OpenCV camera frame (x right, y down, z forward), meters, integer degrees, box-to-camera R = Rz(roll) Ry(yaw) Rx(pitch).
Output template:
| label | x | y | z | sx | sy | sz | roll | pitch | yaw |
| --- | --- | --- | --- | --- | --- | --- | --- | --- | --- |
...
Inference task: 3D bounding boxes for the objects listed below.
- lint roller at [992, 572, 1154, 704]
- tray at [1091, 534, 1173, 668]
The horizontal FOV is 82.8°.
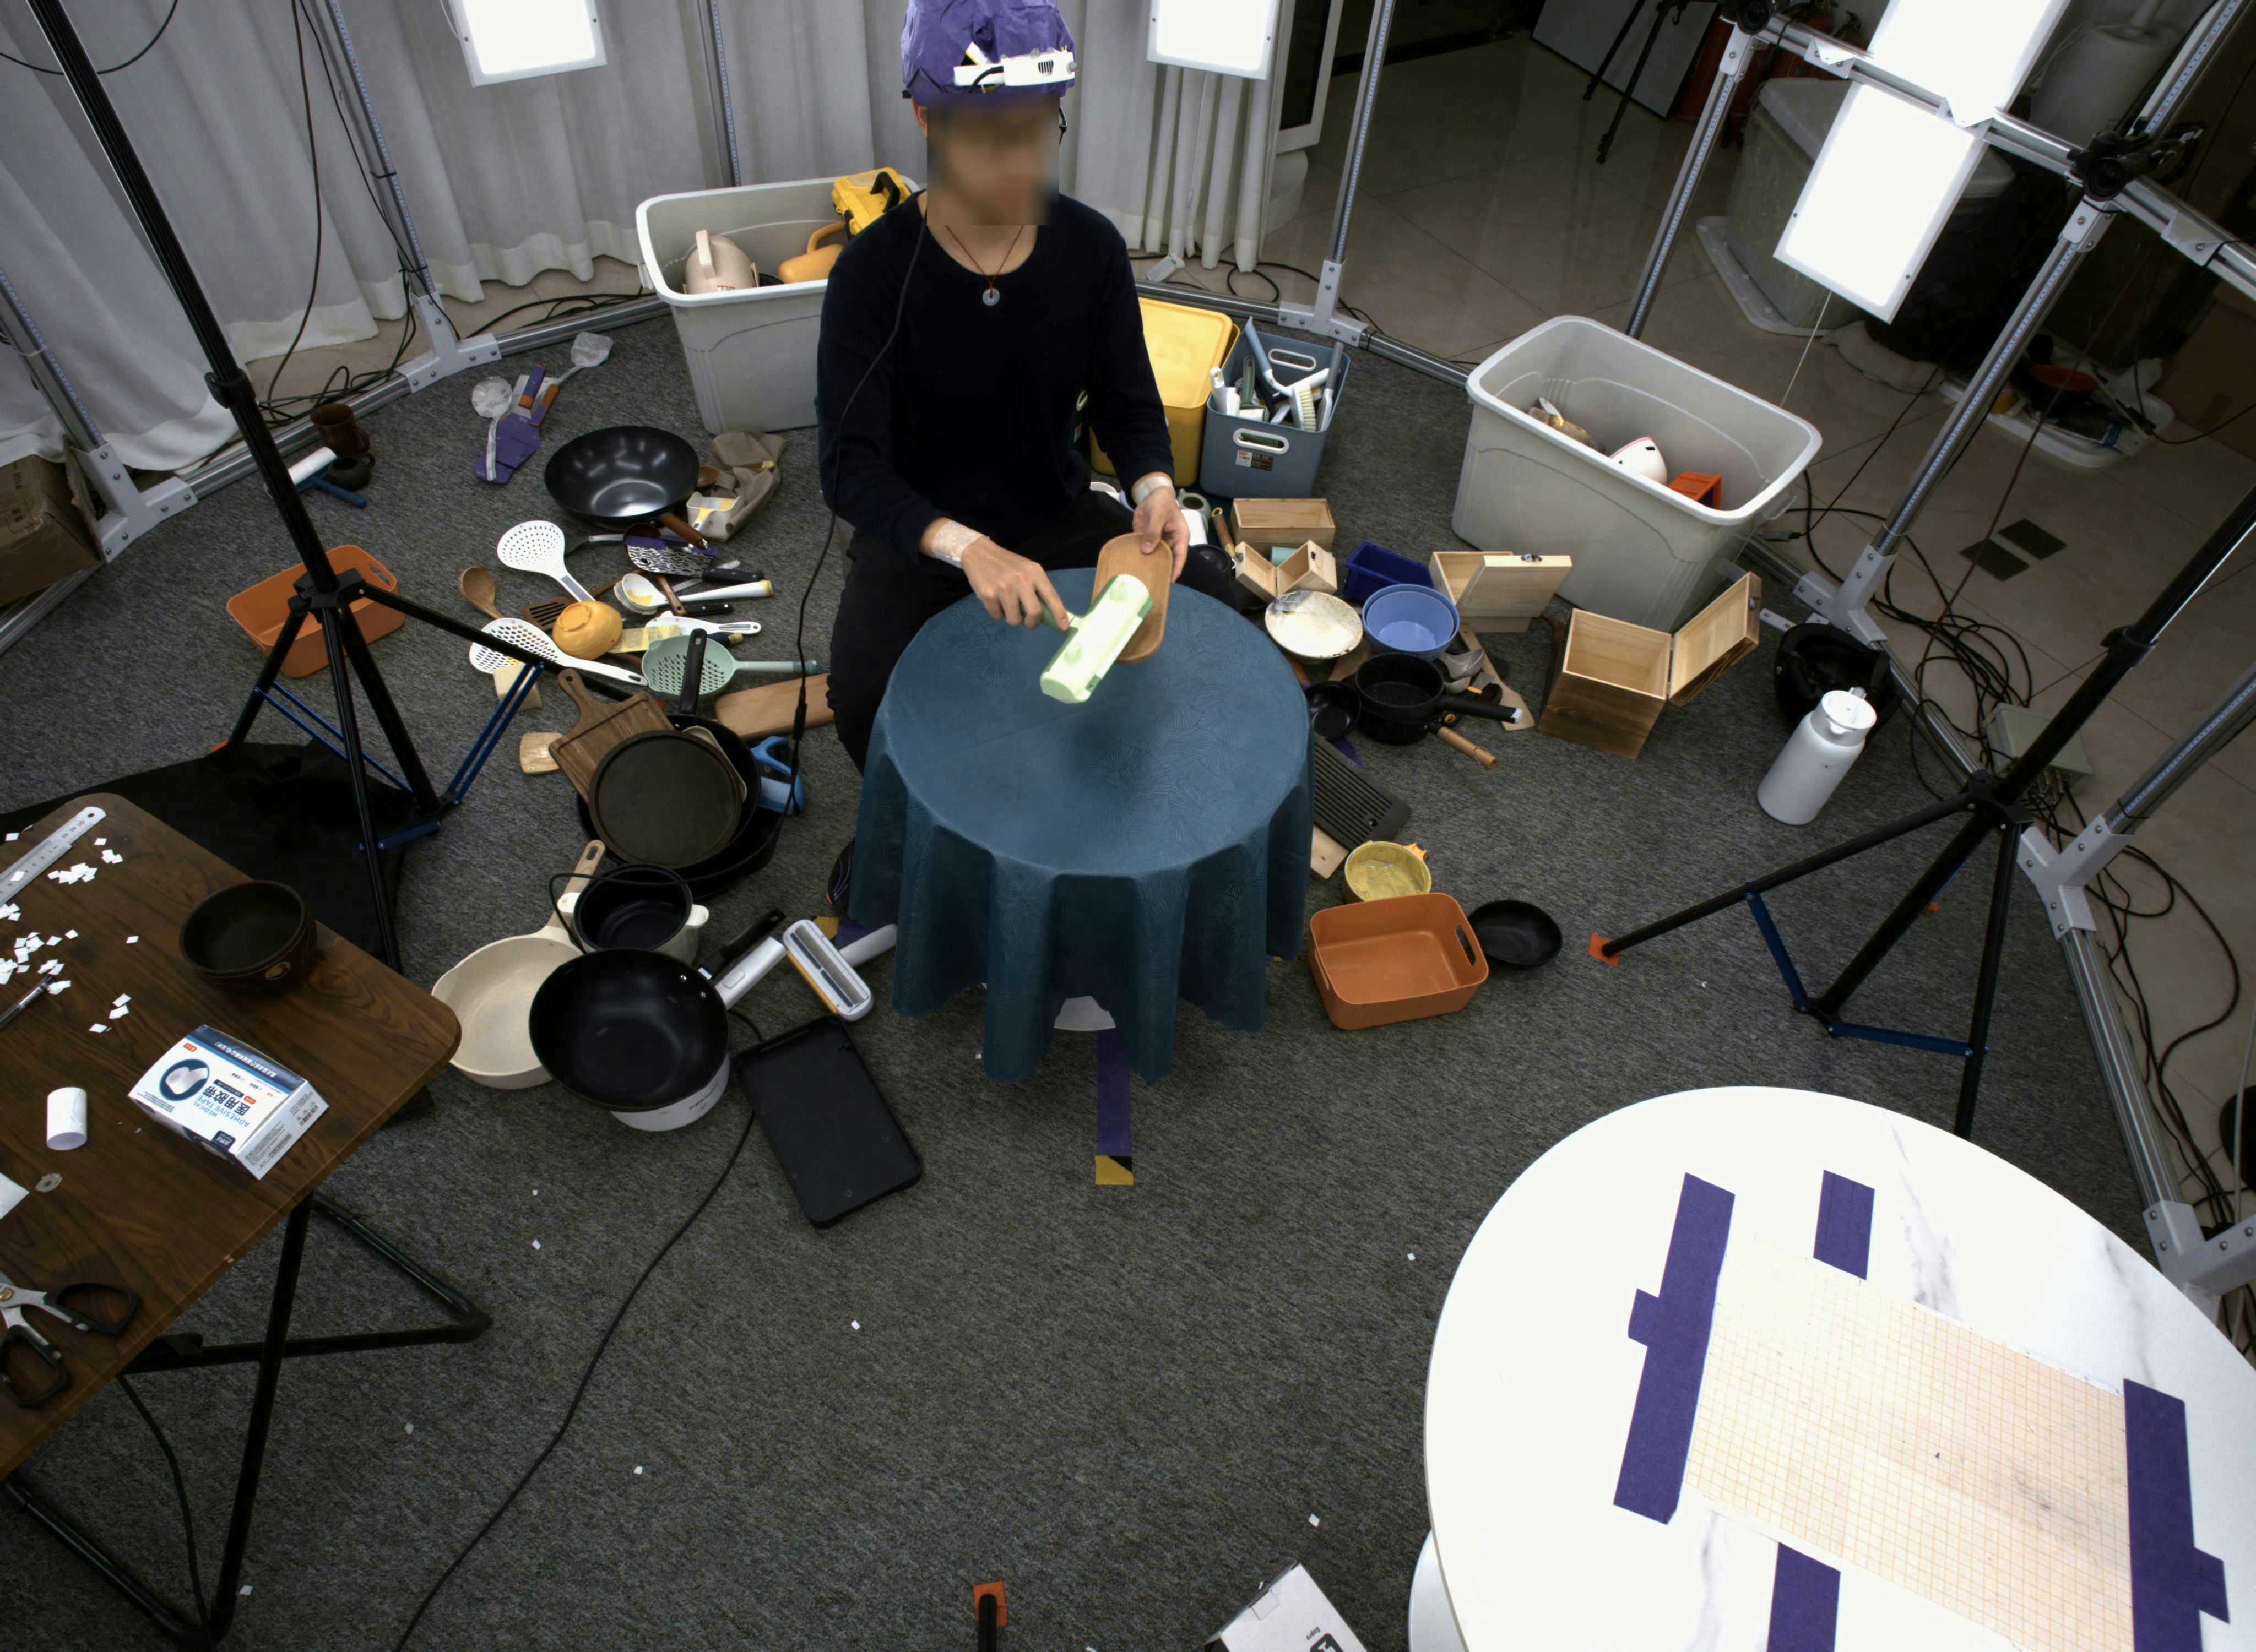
| label | x | y | z | sx | sy | sz | roll | pitch | yaw |
| --- | --- | --- | --- | --- | --- | --- | --- | --- | --- |
| lint roller | -0.085 | -0.269 | 1.597 | 0.183 | 0.081 | 0.202 | 33 | 60 | -2 |
| tray | 0.004 | -0.297 | 1.685 | 0.102 | 0.020 | 0.236 | 2 | 55 | 7 |
